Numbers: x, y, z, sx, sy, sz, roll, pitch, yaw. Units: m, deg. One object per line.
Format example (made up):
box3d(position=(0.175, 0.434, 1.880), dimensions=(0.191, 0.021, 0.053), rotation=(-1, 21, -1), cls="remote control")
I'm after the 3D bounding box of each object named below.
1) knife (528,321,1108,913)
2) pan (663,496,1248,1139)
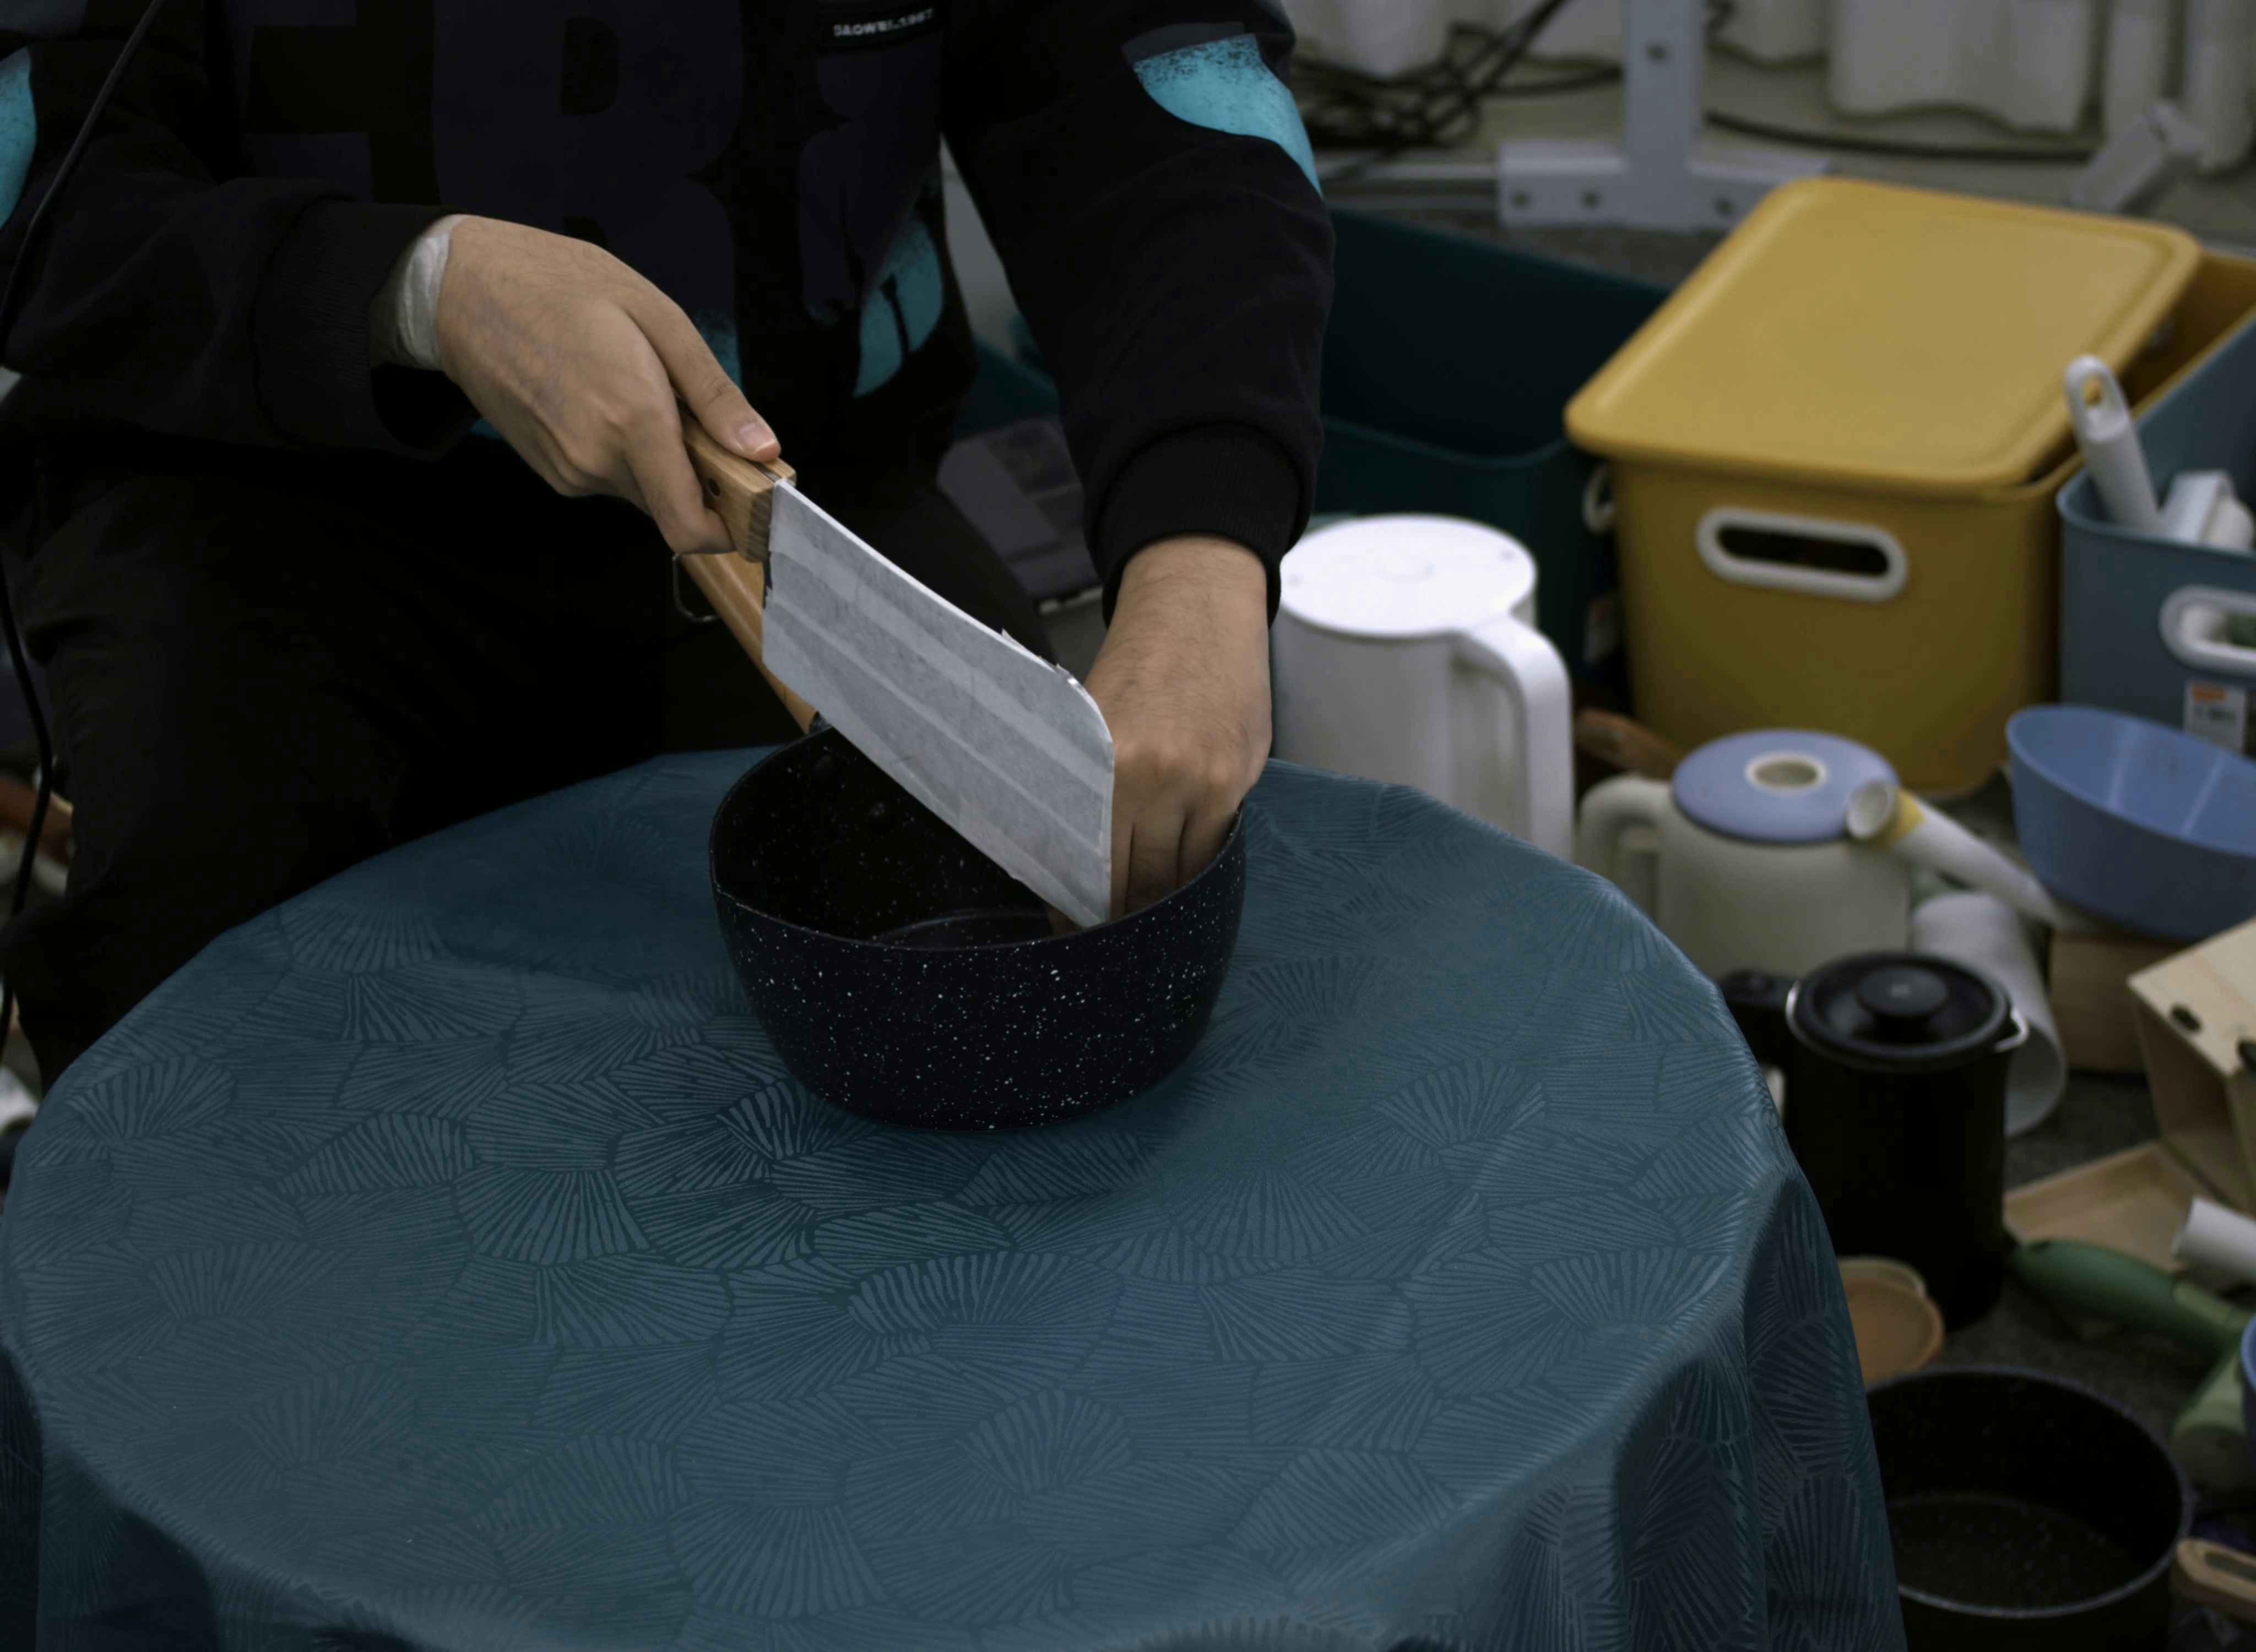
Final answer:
box3d(position=(-0.106, -0.082, 1.939), dimensions=(0.022, 0.112, 0.317), rotation=(-26, 52, -33), cls="knife")
box3d(position=(-0.088, -0.008, 2.003), dimensions=(0.208, 0.107, 0.344), rotation=(-17, 32, -24), cls="pan")
